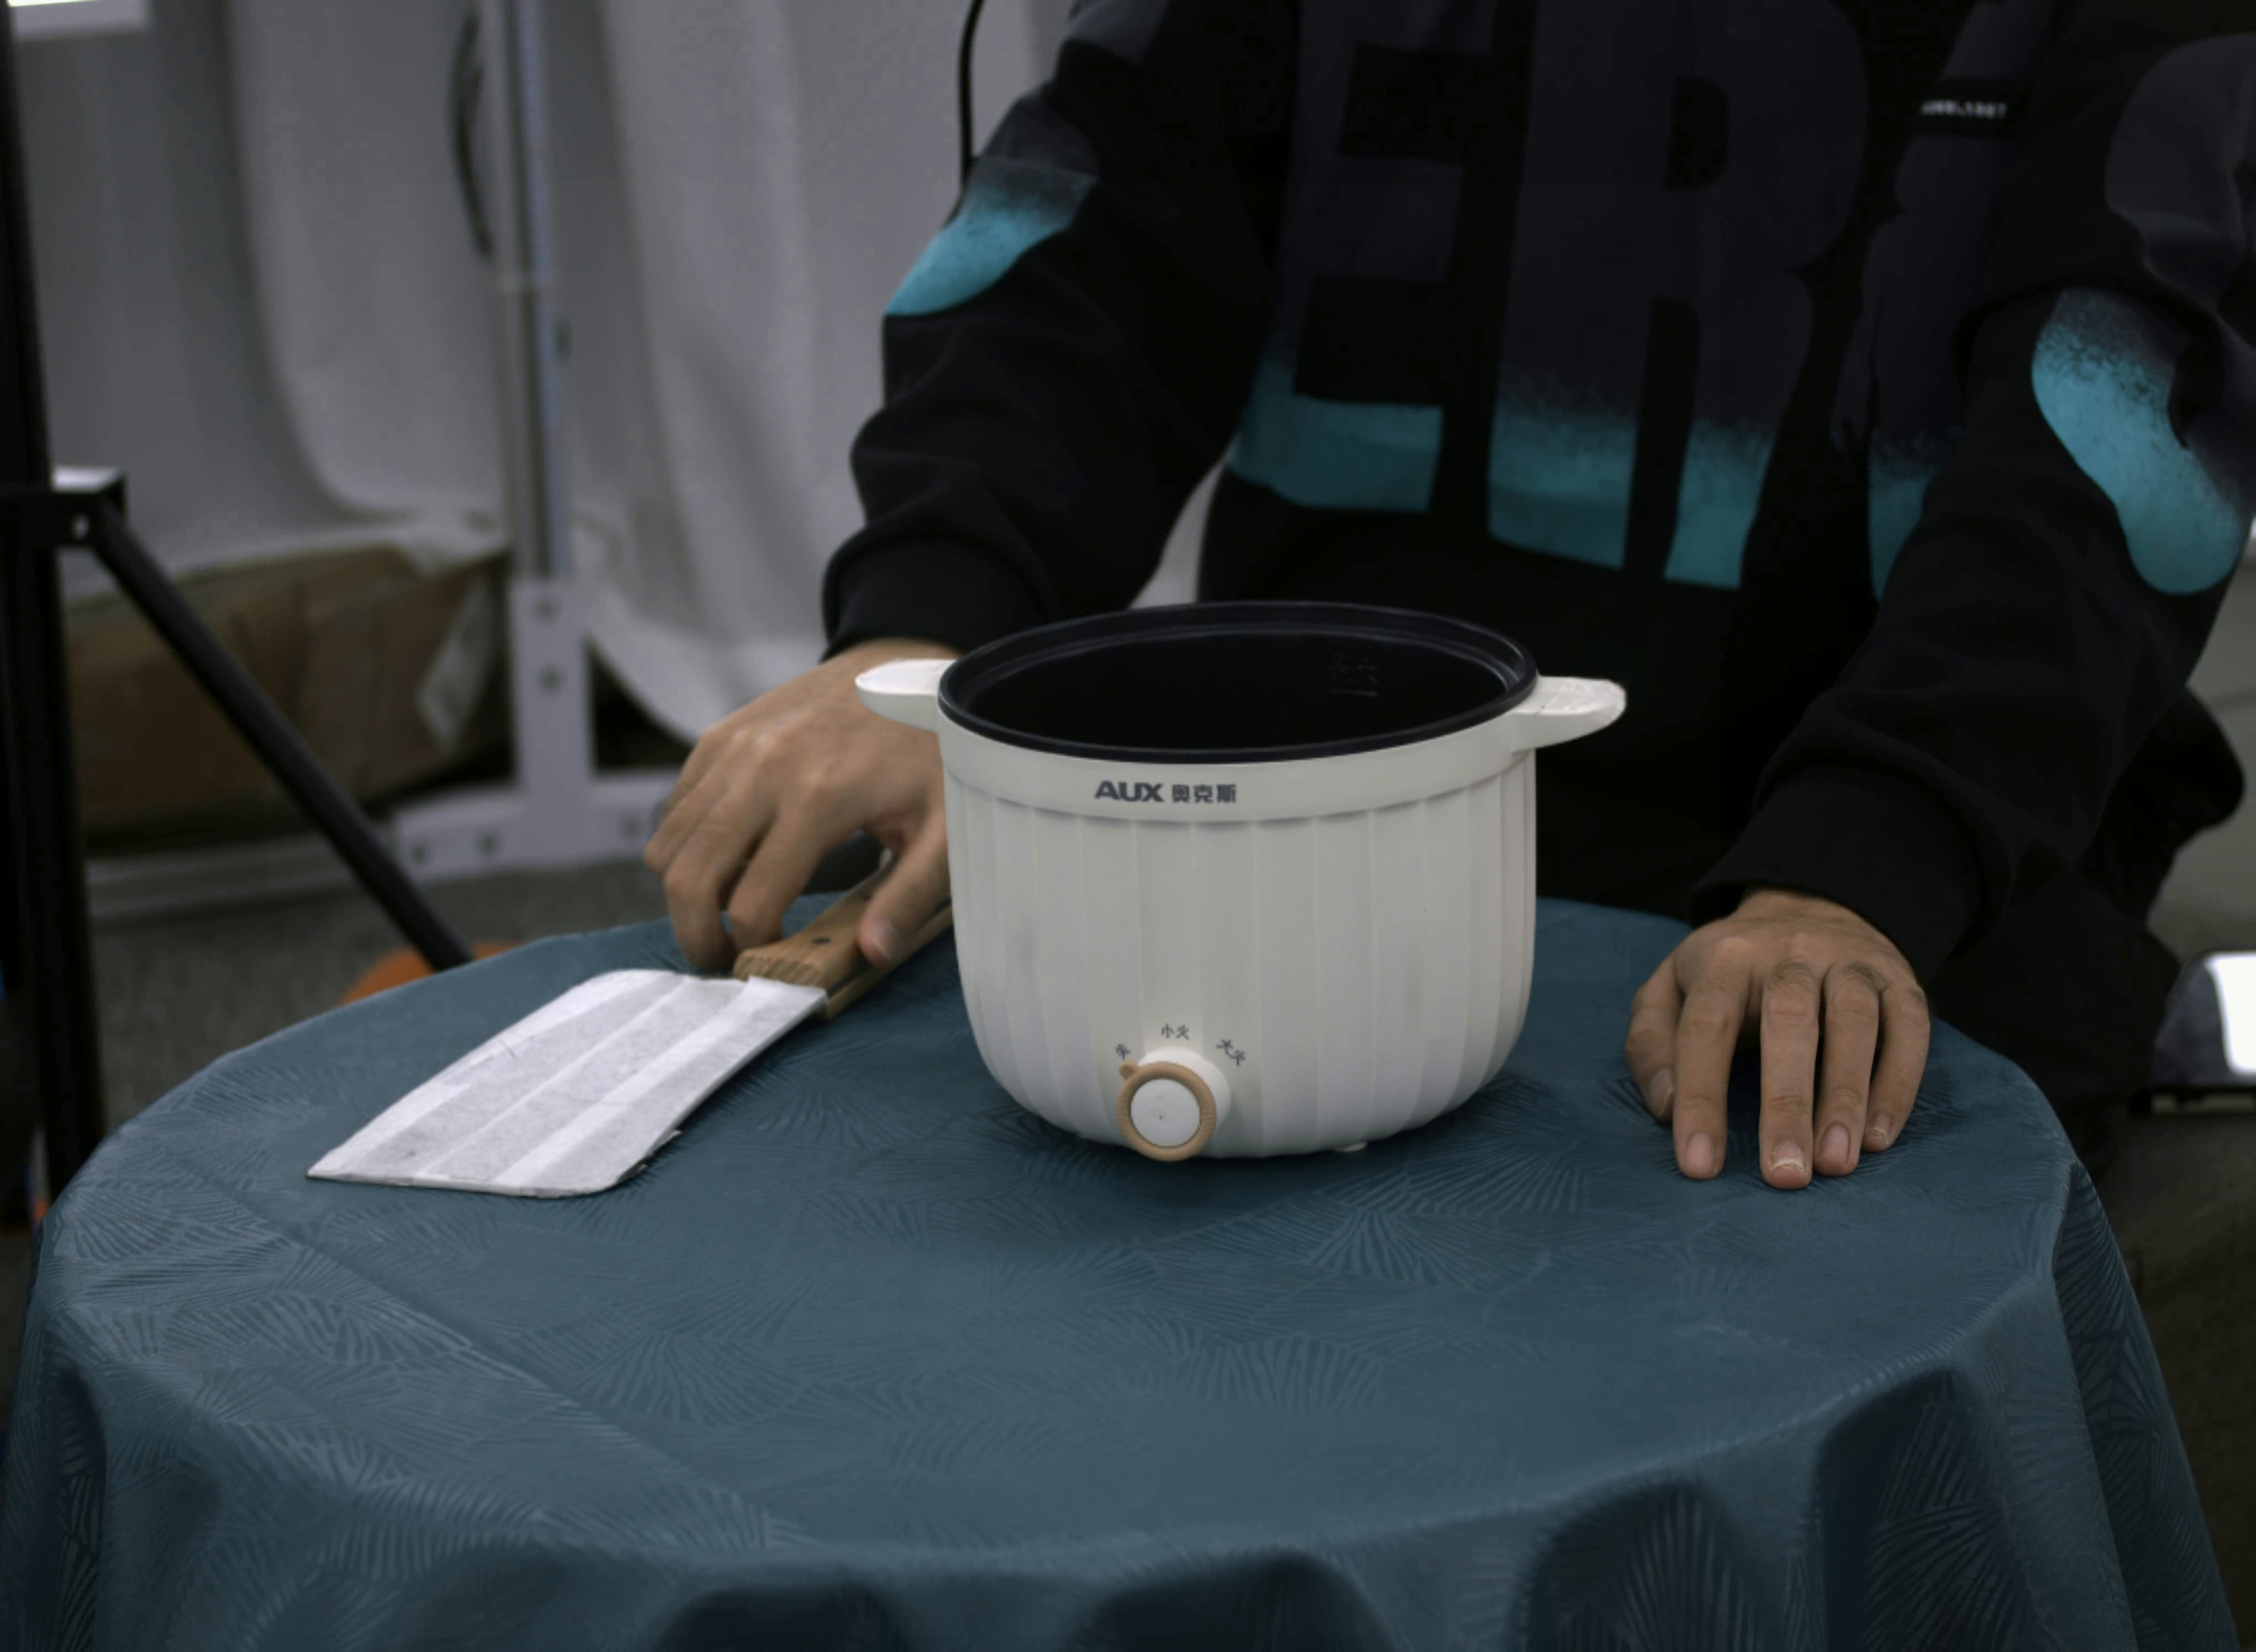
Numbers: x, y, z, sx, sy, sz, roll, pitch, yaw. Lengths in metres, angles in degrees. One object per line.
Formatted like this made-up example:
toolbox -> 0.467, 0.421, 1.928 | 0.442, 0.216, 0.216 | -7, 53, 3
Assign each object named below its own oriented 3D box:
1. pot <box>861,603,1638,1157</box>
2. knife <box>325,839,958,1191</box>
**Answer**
pot -> 0.036, 0.019, 1.611 | 0.242, 0.143, 0.188 | 1, 12, 17
knife -> -0.137, 0.061, 1.715 | 0.116, 0.022, 0.310 | 5, 20, 27
